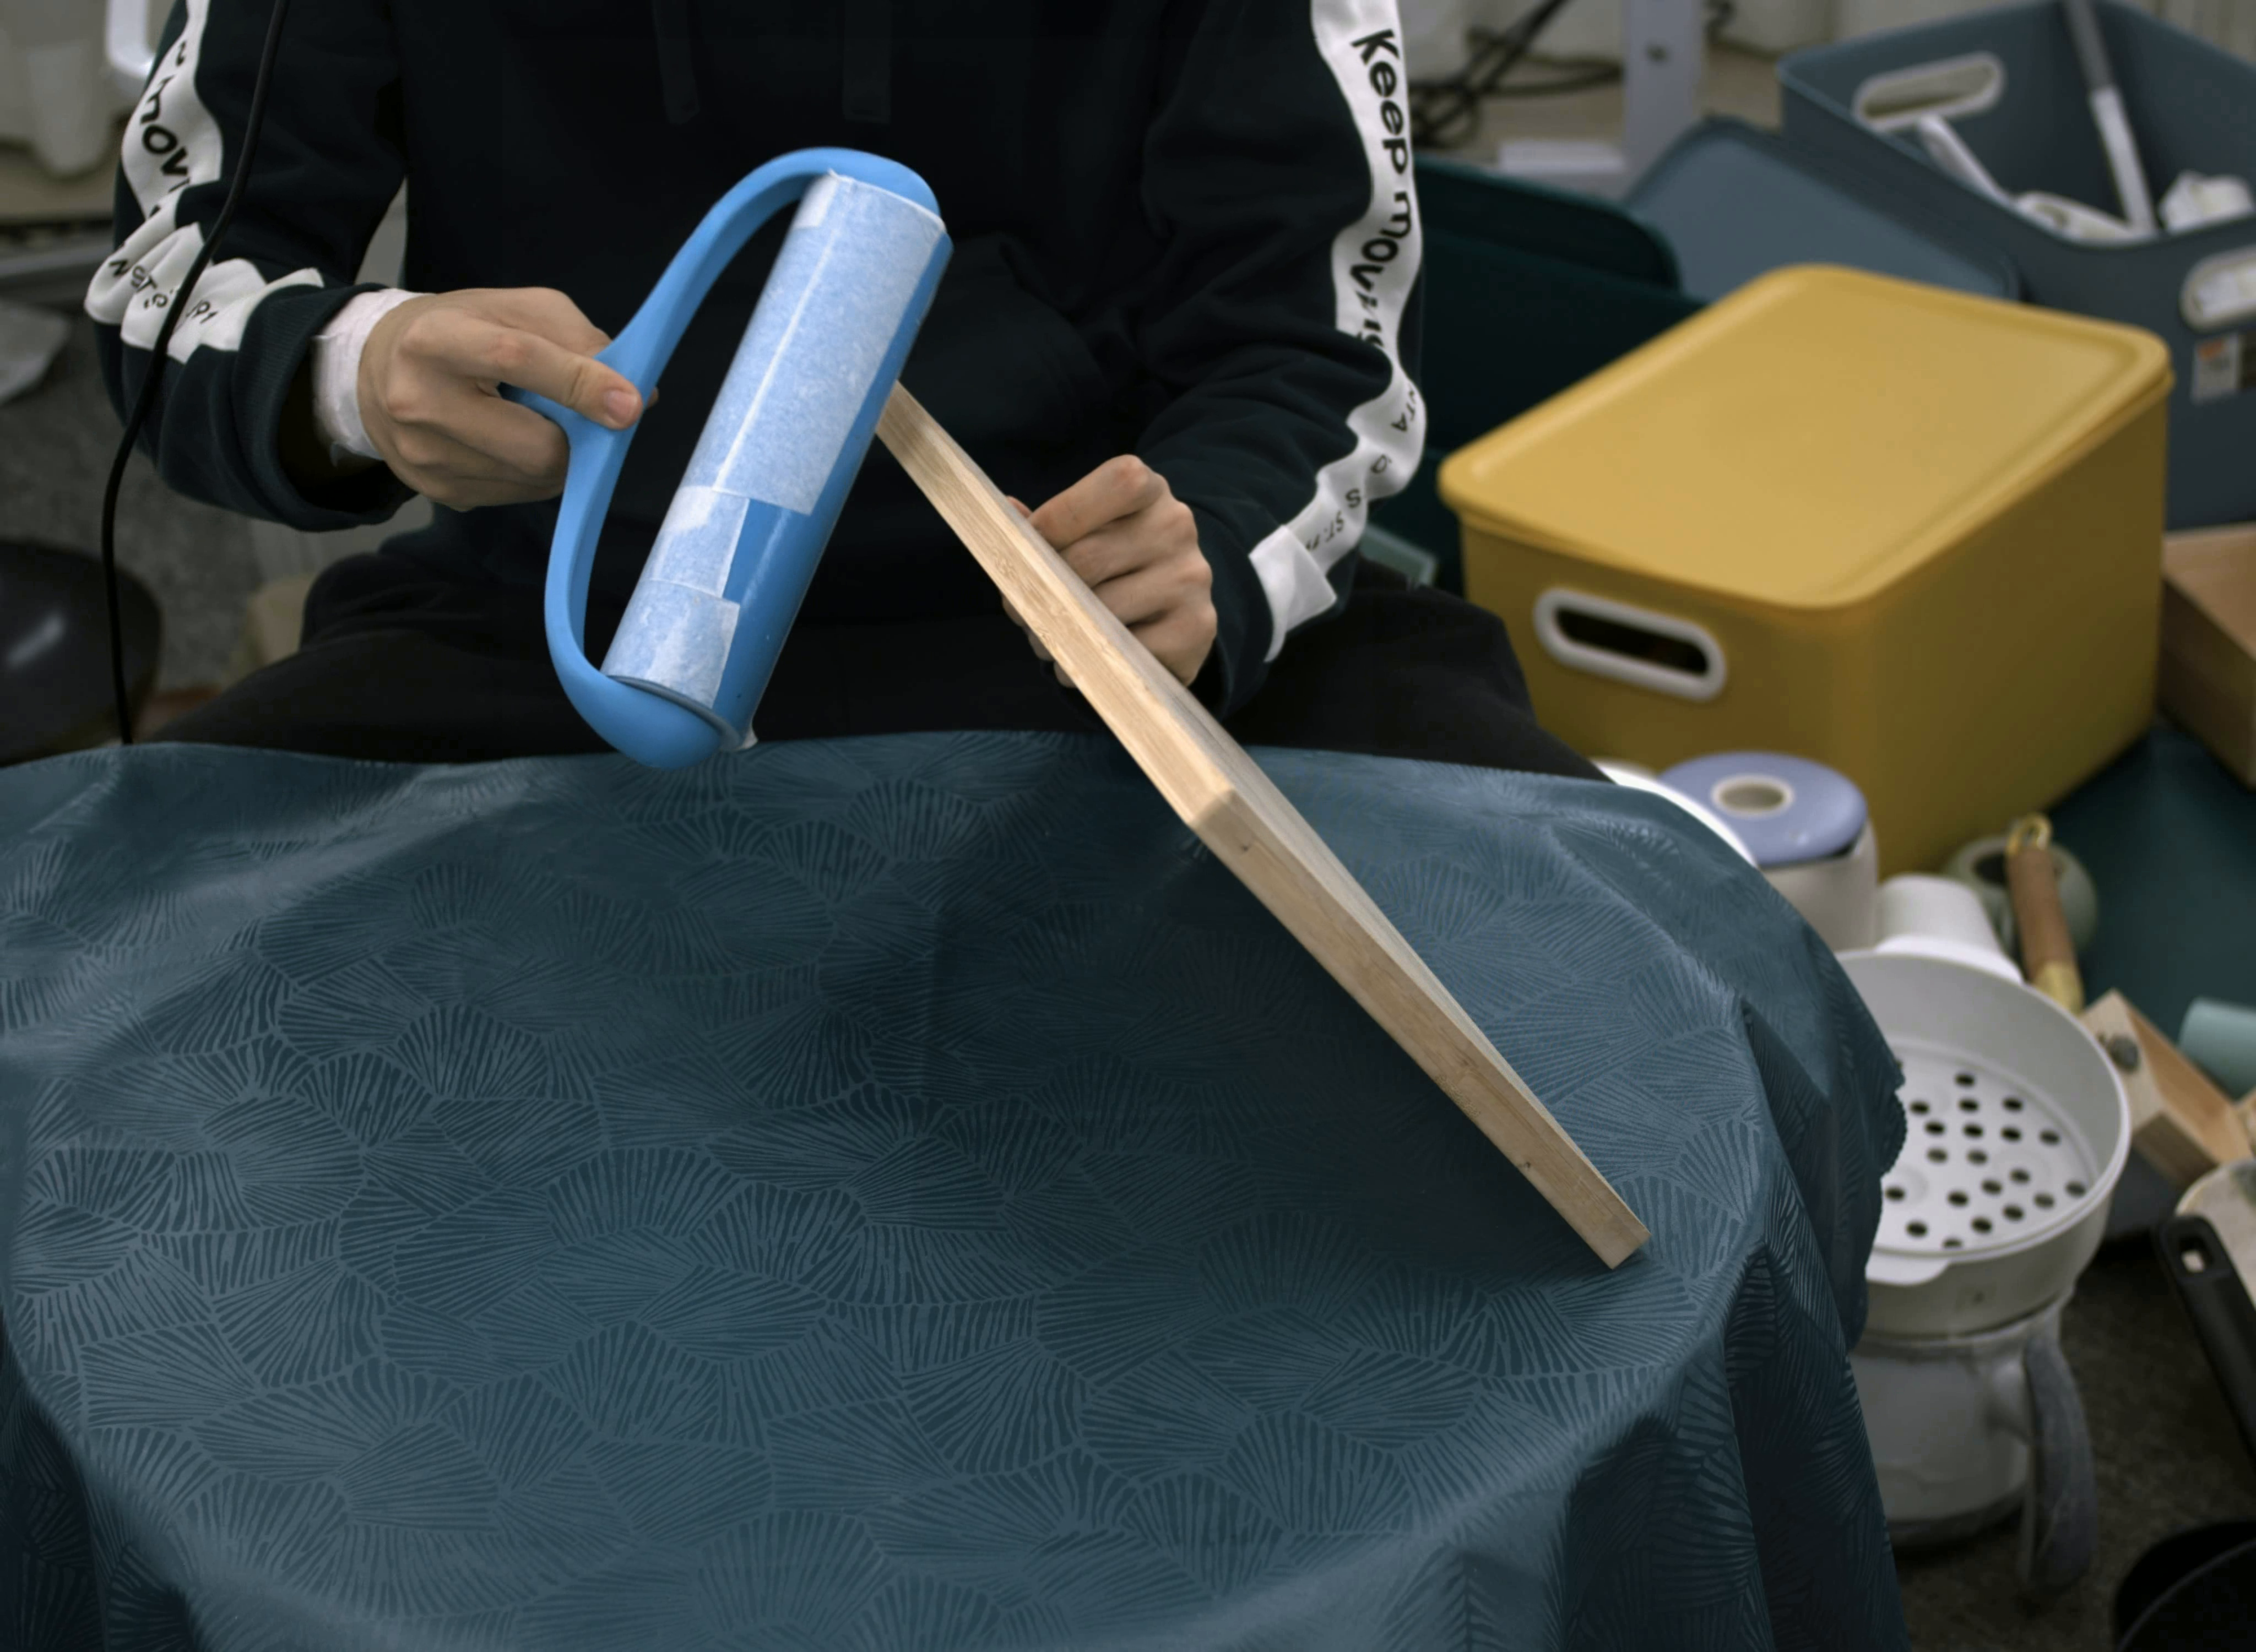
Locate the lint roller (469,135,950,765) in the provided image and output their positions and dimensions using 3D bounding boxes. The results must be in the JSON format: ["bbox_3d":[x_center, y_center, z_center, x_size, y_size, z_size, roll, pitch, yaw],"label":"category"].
[{"bbox_3d":[-0.168,-0.134,1.930,0.179,0.067,0.232,7,70,31],"label":"lint roller"}]

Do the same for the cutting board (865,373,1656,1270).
[{"bbox_3d":[0.035,-0.008,1.886,0.023,0.249,0.352,-42,33,2],"label":"cutting board"}]
